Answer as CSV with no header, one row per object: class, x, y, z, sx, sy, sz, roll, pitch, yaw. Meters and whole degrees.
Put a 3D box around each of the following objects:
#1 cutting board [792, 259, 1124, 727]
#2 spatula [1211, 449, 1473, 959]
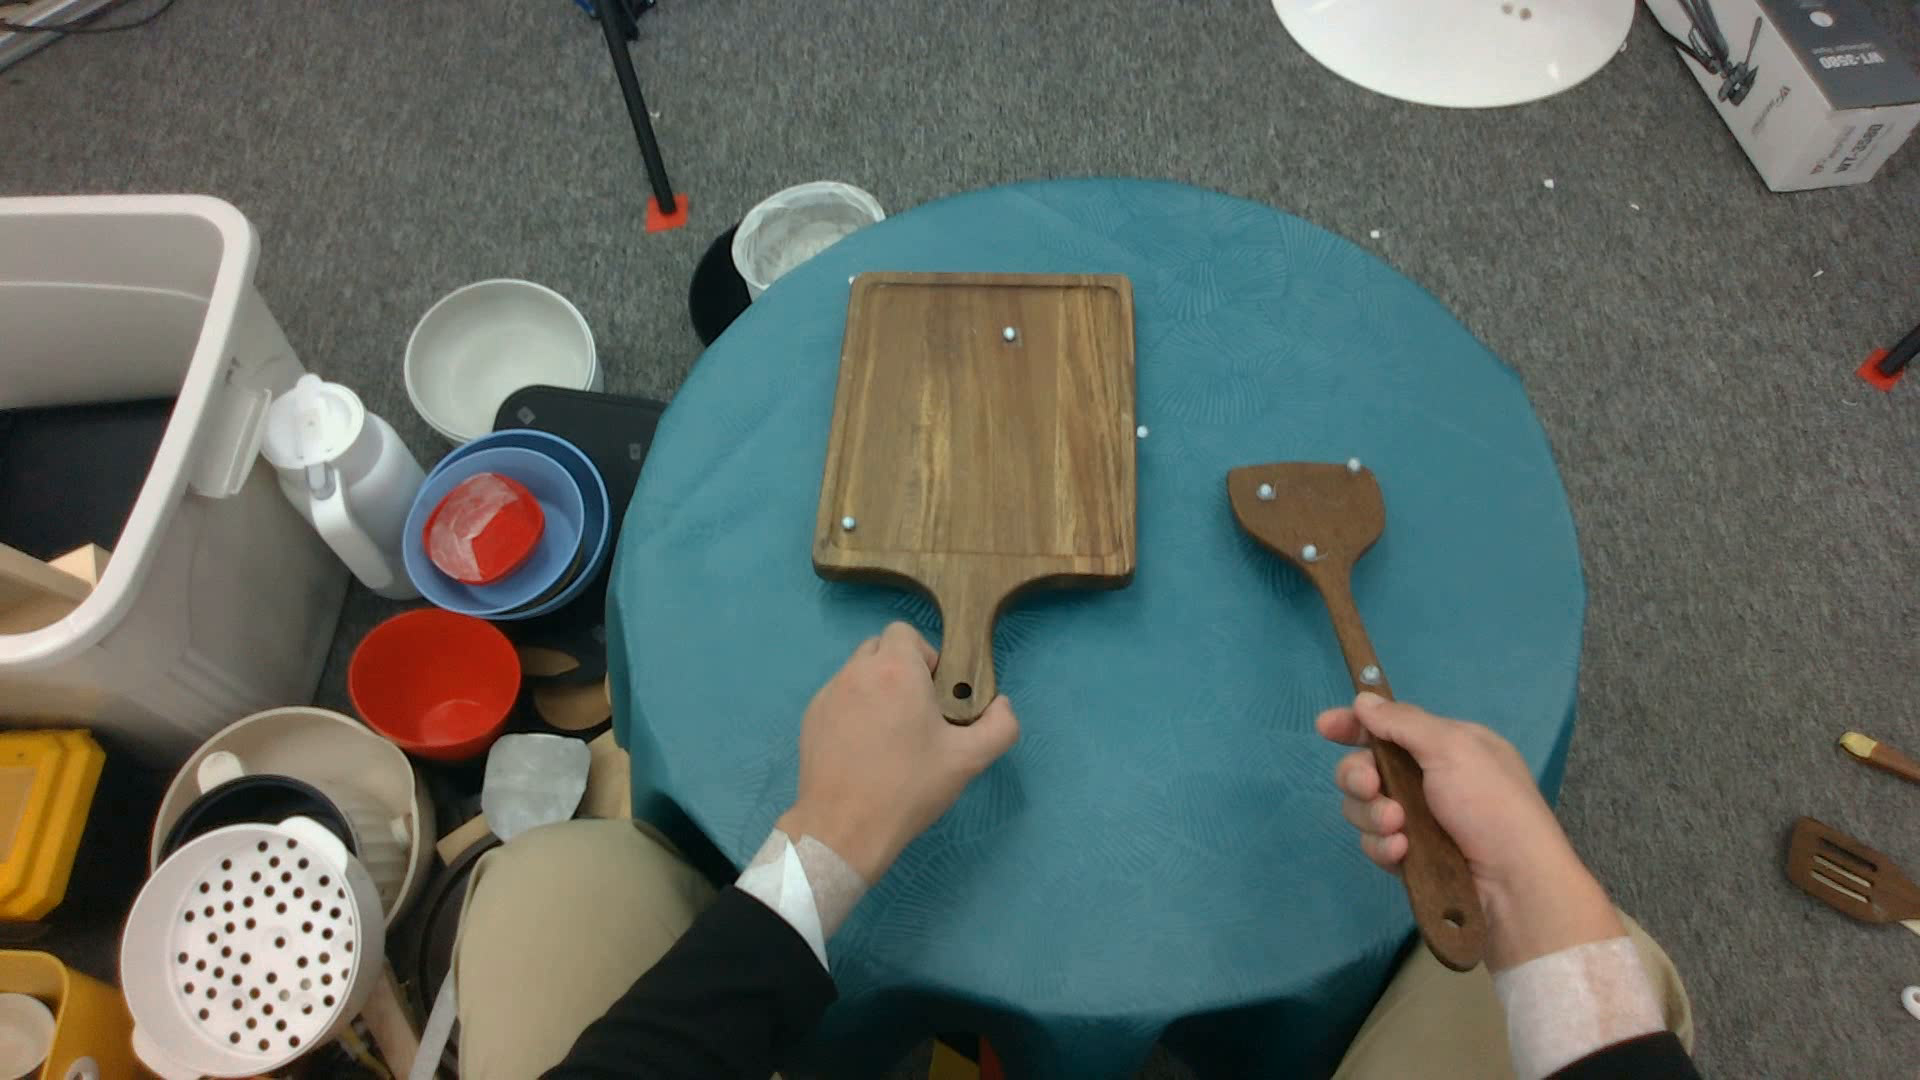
cutting board,0.000,-0.046,0.859,0.201,0.023,0.354,1,56,3
spatula,0.206,0.058,0.735,0.096,0.016,0.387,0,36,0
